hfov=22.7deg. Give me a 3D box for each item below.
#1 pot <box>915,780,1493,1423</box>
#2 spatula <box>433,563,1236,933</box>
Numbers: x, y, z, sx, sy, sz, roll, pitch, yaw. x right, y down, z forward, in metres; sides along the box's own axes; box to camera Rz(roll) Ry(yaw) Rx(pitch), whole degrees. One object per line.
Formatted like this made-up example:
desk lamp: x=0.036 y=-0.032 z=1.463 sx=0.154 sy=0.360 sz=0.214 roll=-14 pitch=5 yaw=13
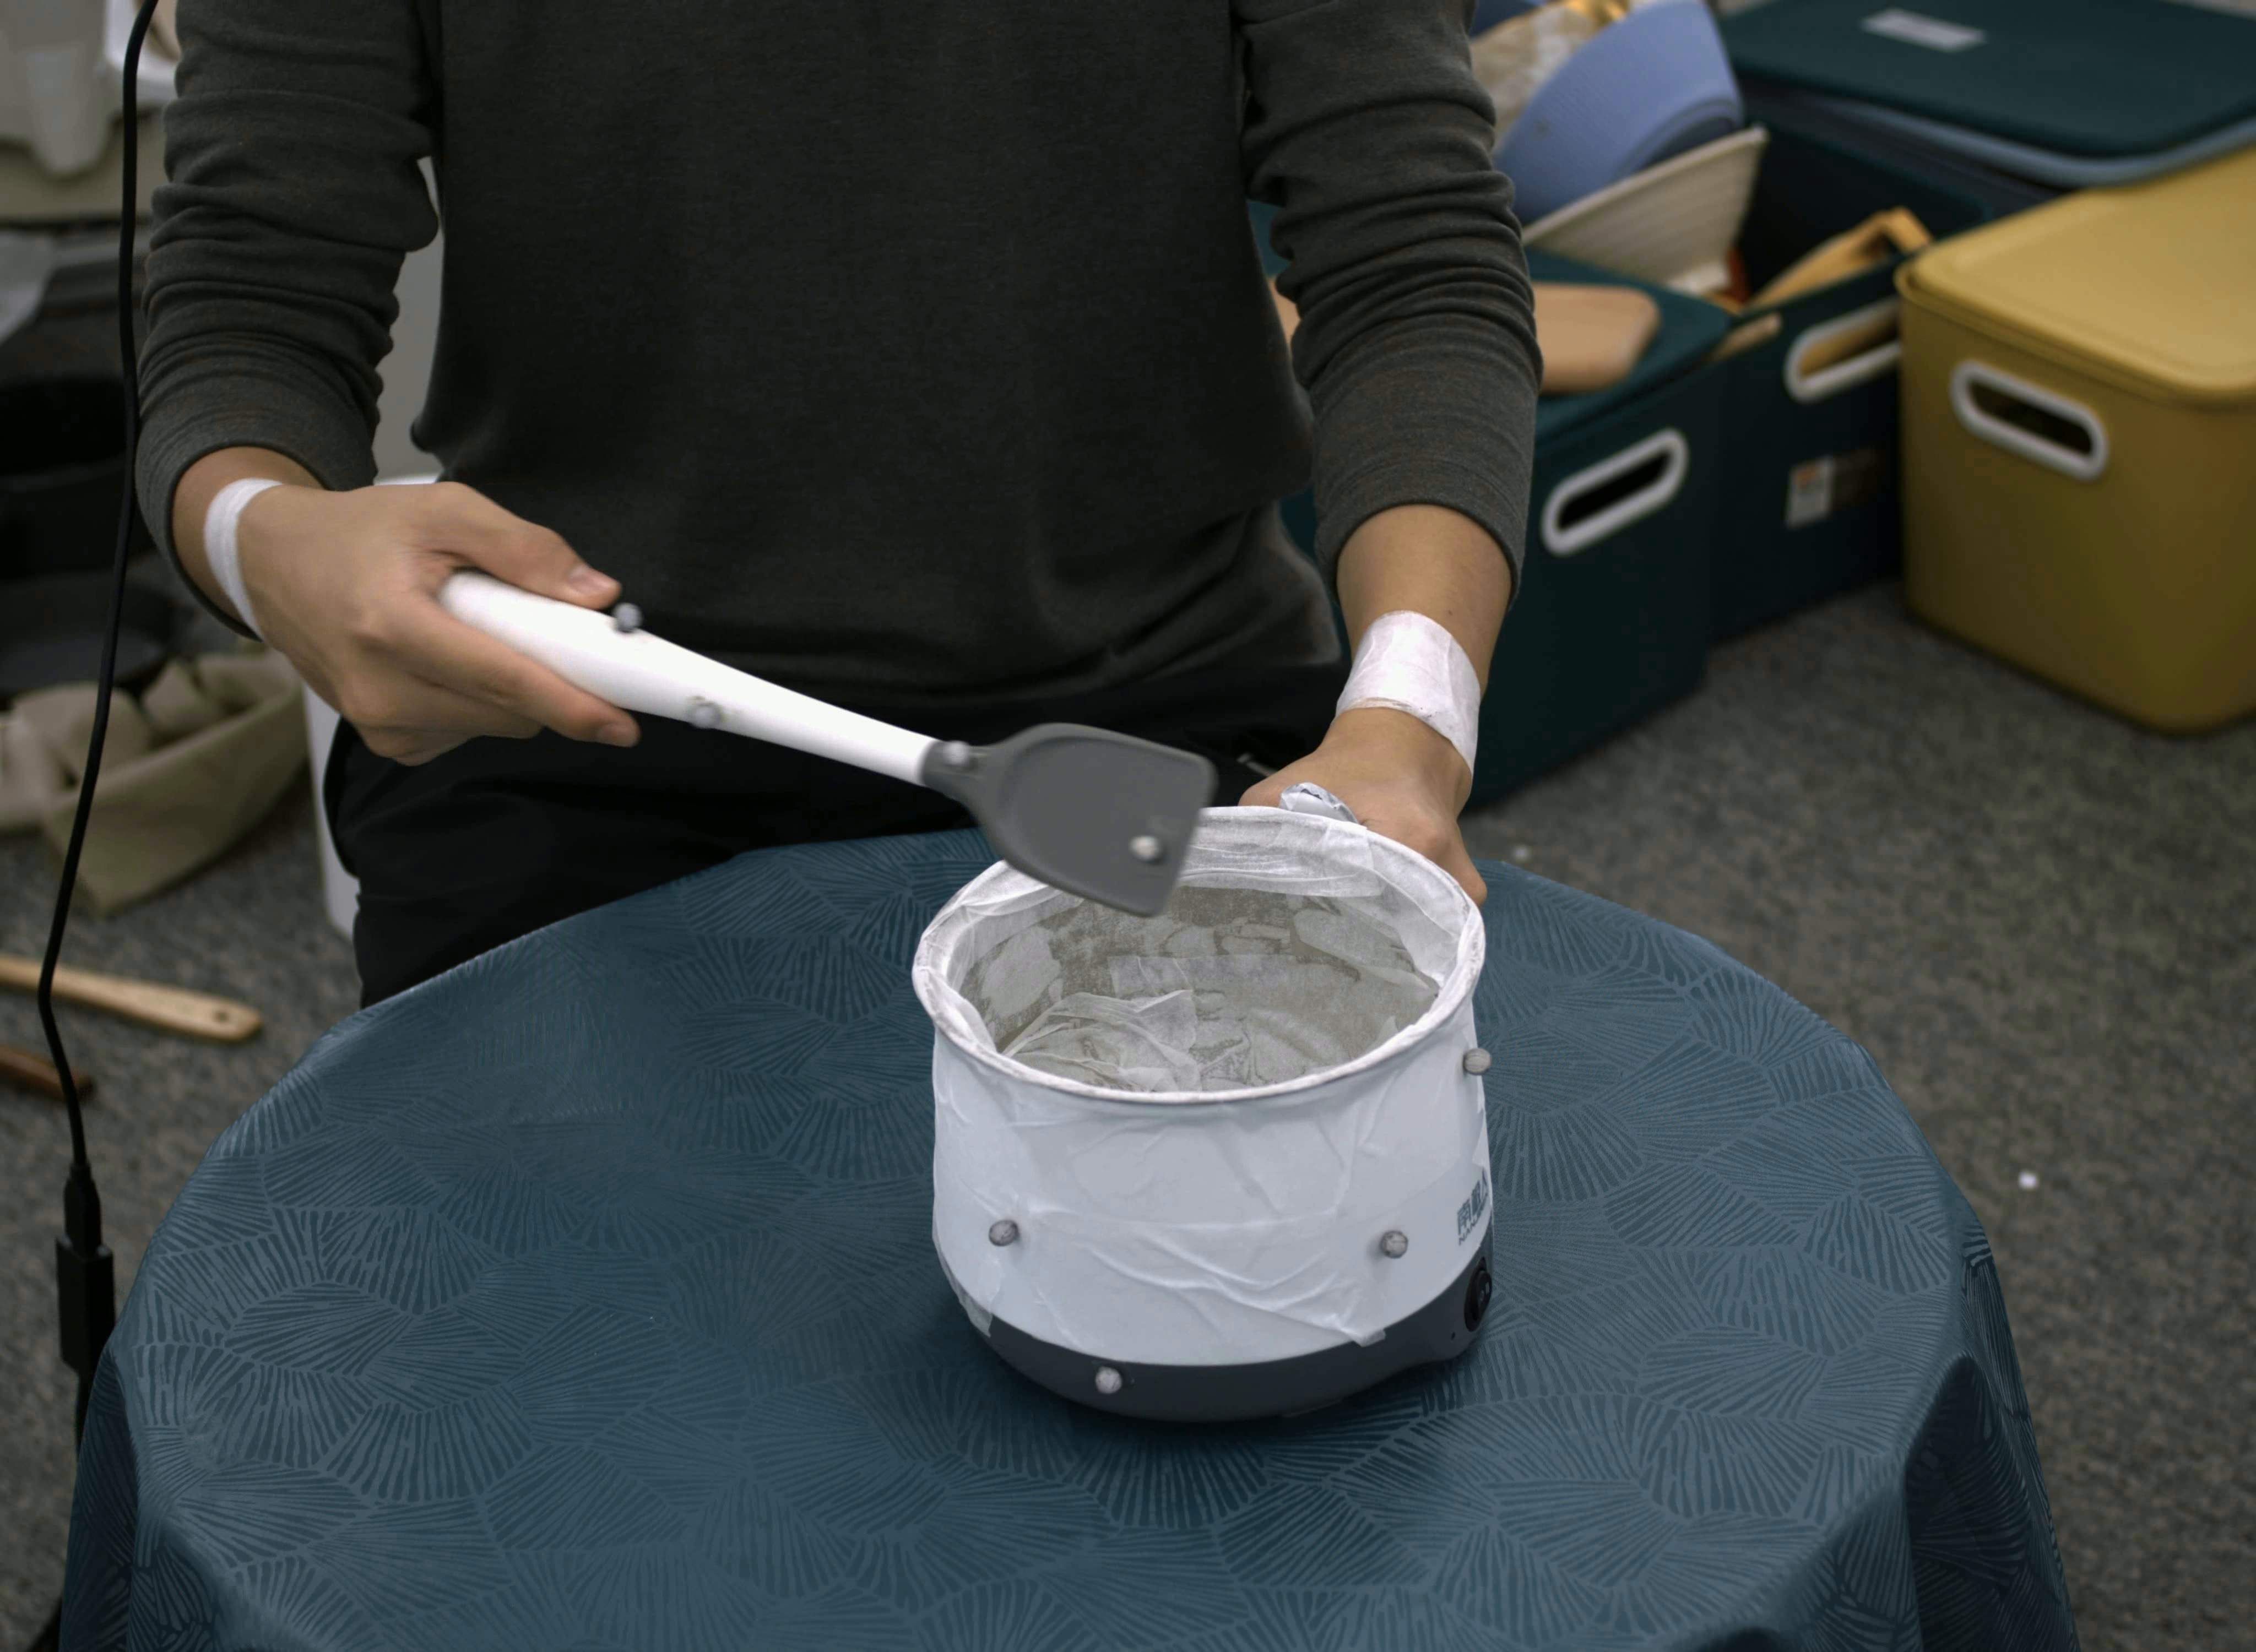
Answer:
pot: x=0.035 y=0.079 z=1.789 sx=0.177 sy=0.135 sz=0.238 roll=7 pitch=30 yaw=19
spatula: x=-0.092 y=-0.030 z=1.758 sx=0.286 sy=0.059 sz=0.032 roll=18 pitch=-10 yaw=25
